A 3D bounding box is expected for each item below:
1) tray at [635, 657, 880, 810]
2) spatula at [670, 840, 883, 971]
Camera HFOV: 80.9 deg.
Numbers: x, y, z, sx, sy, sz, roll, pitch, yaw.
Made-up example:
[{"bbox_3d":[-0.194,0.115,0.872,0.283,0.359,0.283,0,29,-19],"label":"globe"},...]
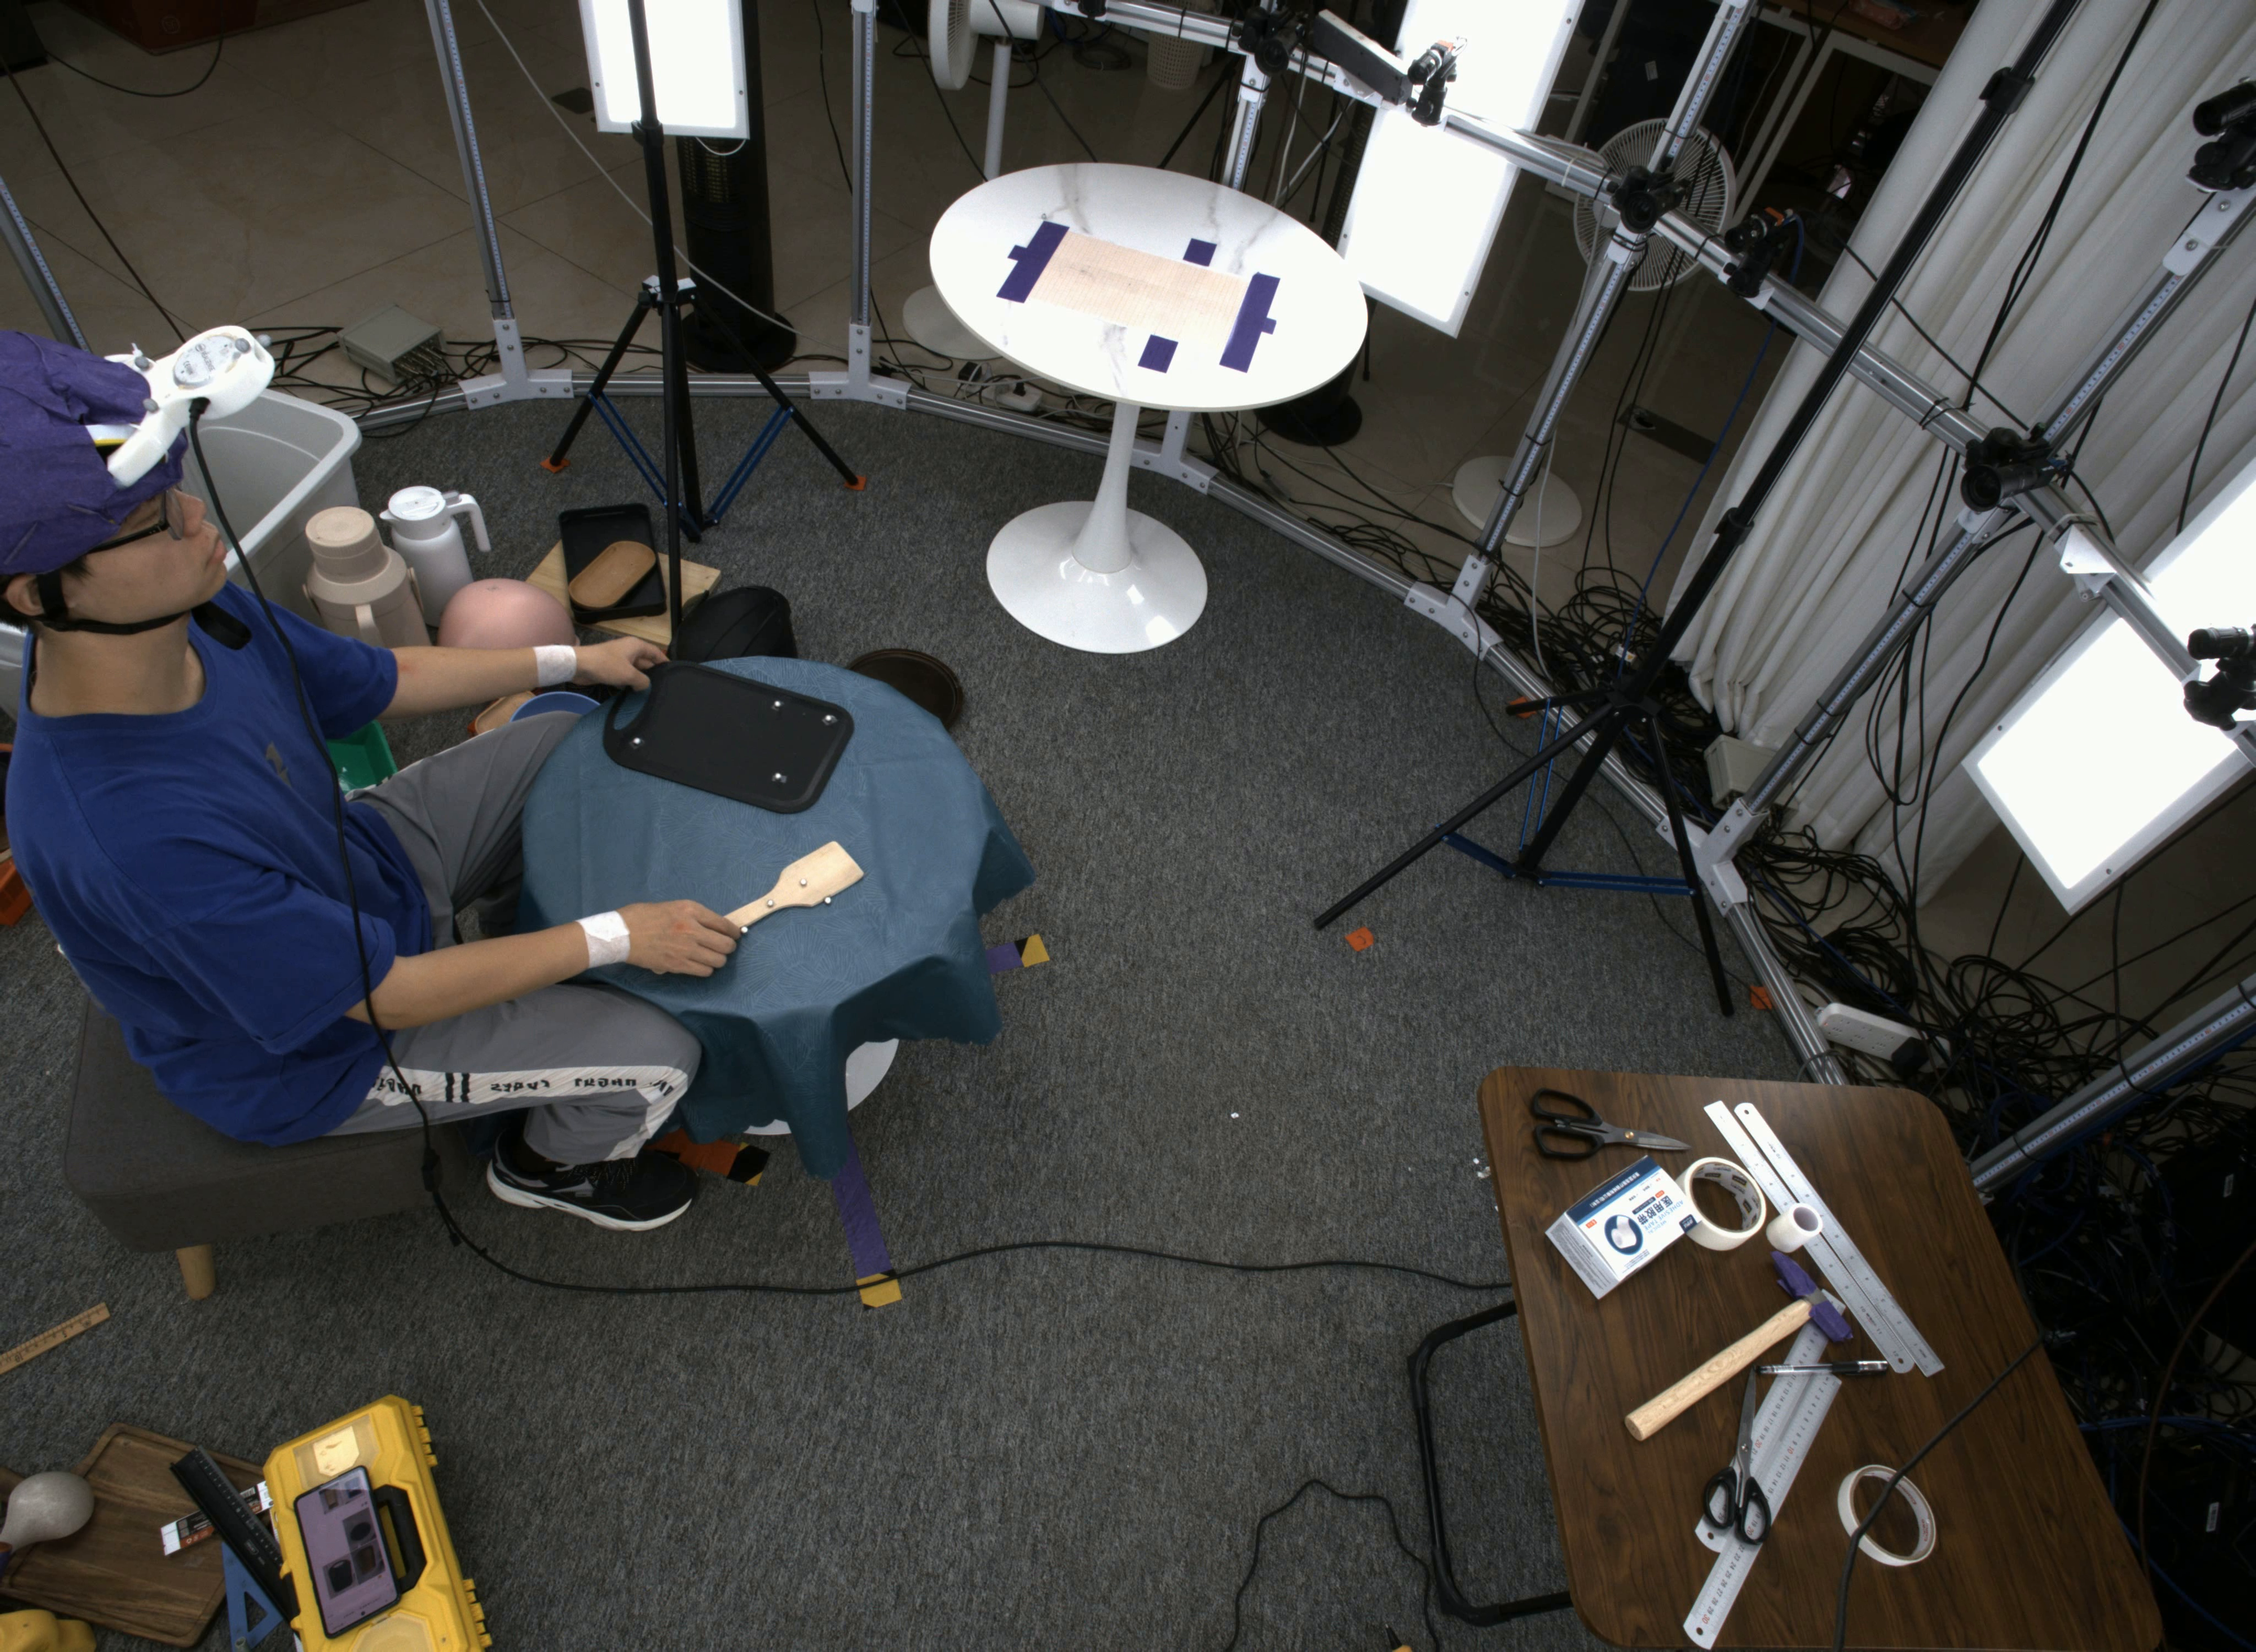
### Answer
[{"bbox_3d":[-0.525,-0.137,1.805,0.322,0.010,0.209,18,52,0],"label":"tray"},{"bbox_3d":[-0.447,0.104,1.644,0.294,0.011,0.070,-31,67,-32],"label":"spatula"}]
